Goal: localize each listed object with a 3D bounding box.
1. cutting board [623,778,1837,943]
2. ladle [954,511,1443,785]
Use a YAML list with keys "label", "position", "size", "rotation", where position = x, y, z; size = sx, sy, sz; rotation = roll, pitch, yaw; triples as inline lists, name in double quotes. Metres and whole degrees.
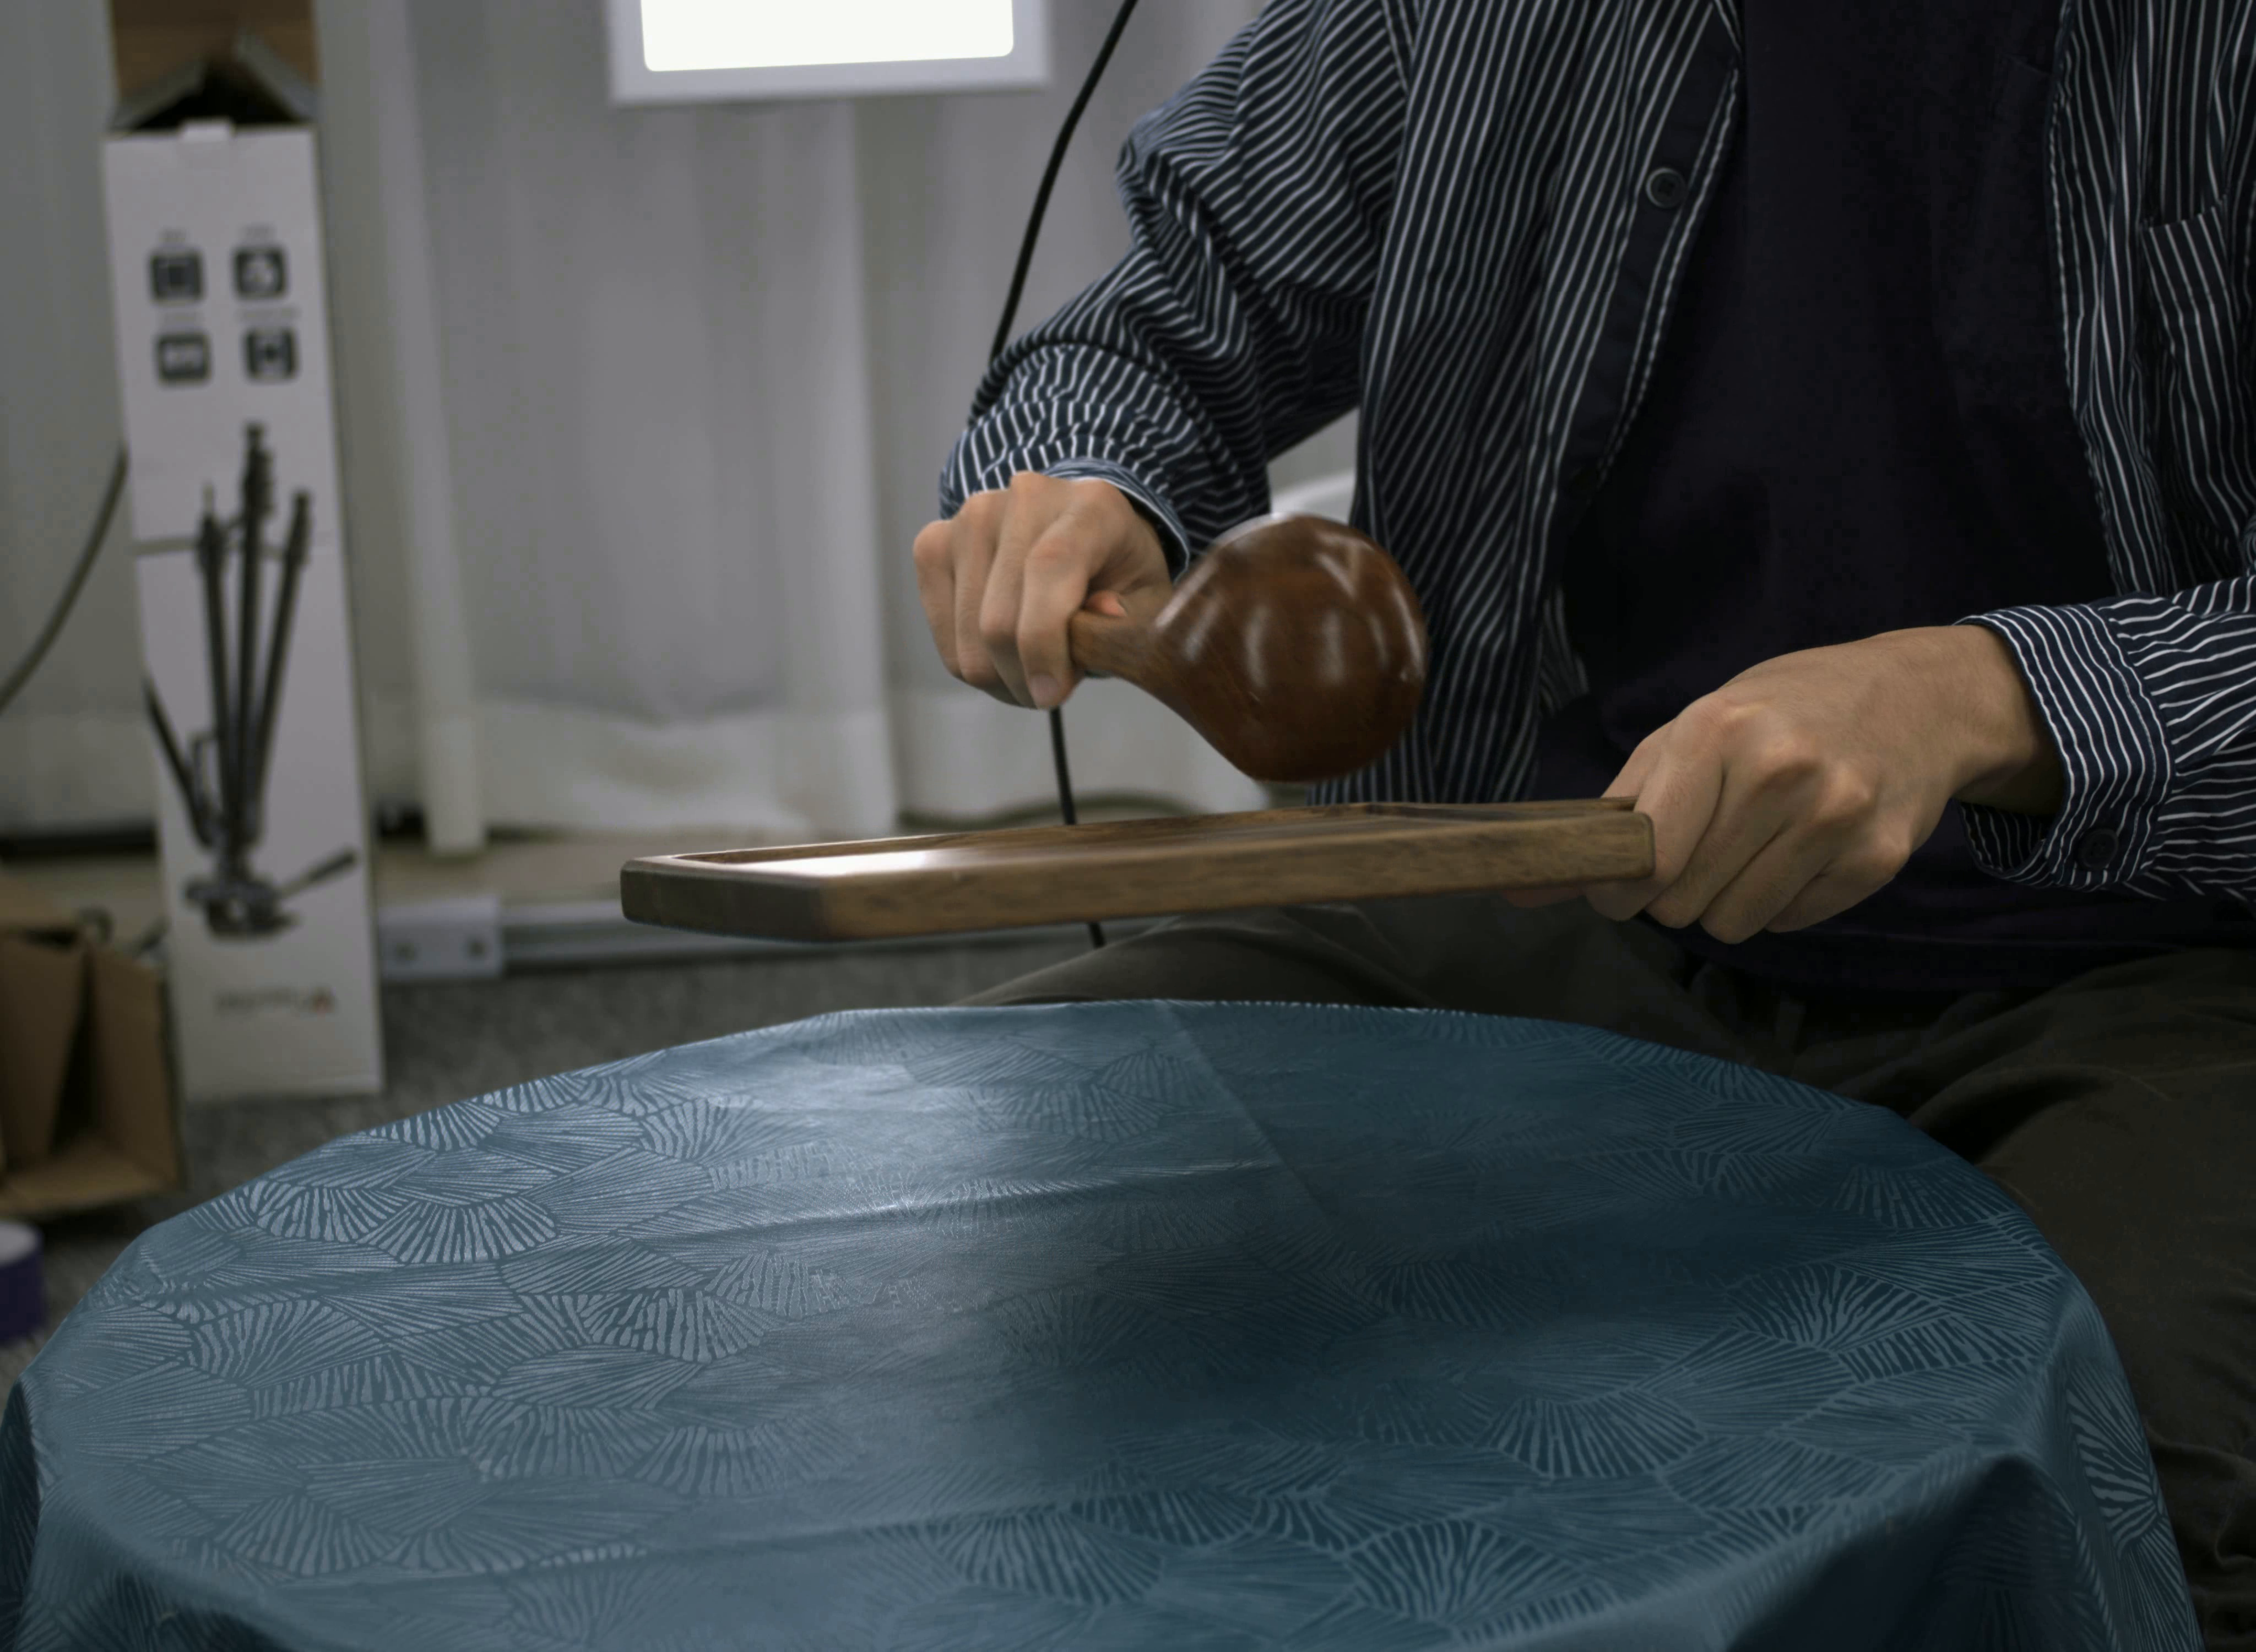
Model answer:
- label: "cutting board"
  position: [0.047, 0.008, 1.580]
  size: [0.350, 0.023, 0.201]
  rotation: [-4, 2, -20]
- label: "ladle"
  position: [0.019, -0.059, 1.733]
  size: [0.076, 0.082, 0.275]
  rotation: [3, 2, -18]
